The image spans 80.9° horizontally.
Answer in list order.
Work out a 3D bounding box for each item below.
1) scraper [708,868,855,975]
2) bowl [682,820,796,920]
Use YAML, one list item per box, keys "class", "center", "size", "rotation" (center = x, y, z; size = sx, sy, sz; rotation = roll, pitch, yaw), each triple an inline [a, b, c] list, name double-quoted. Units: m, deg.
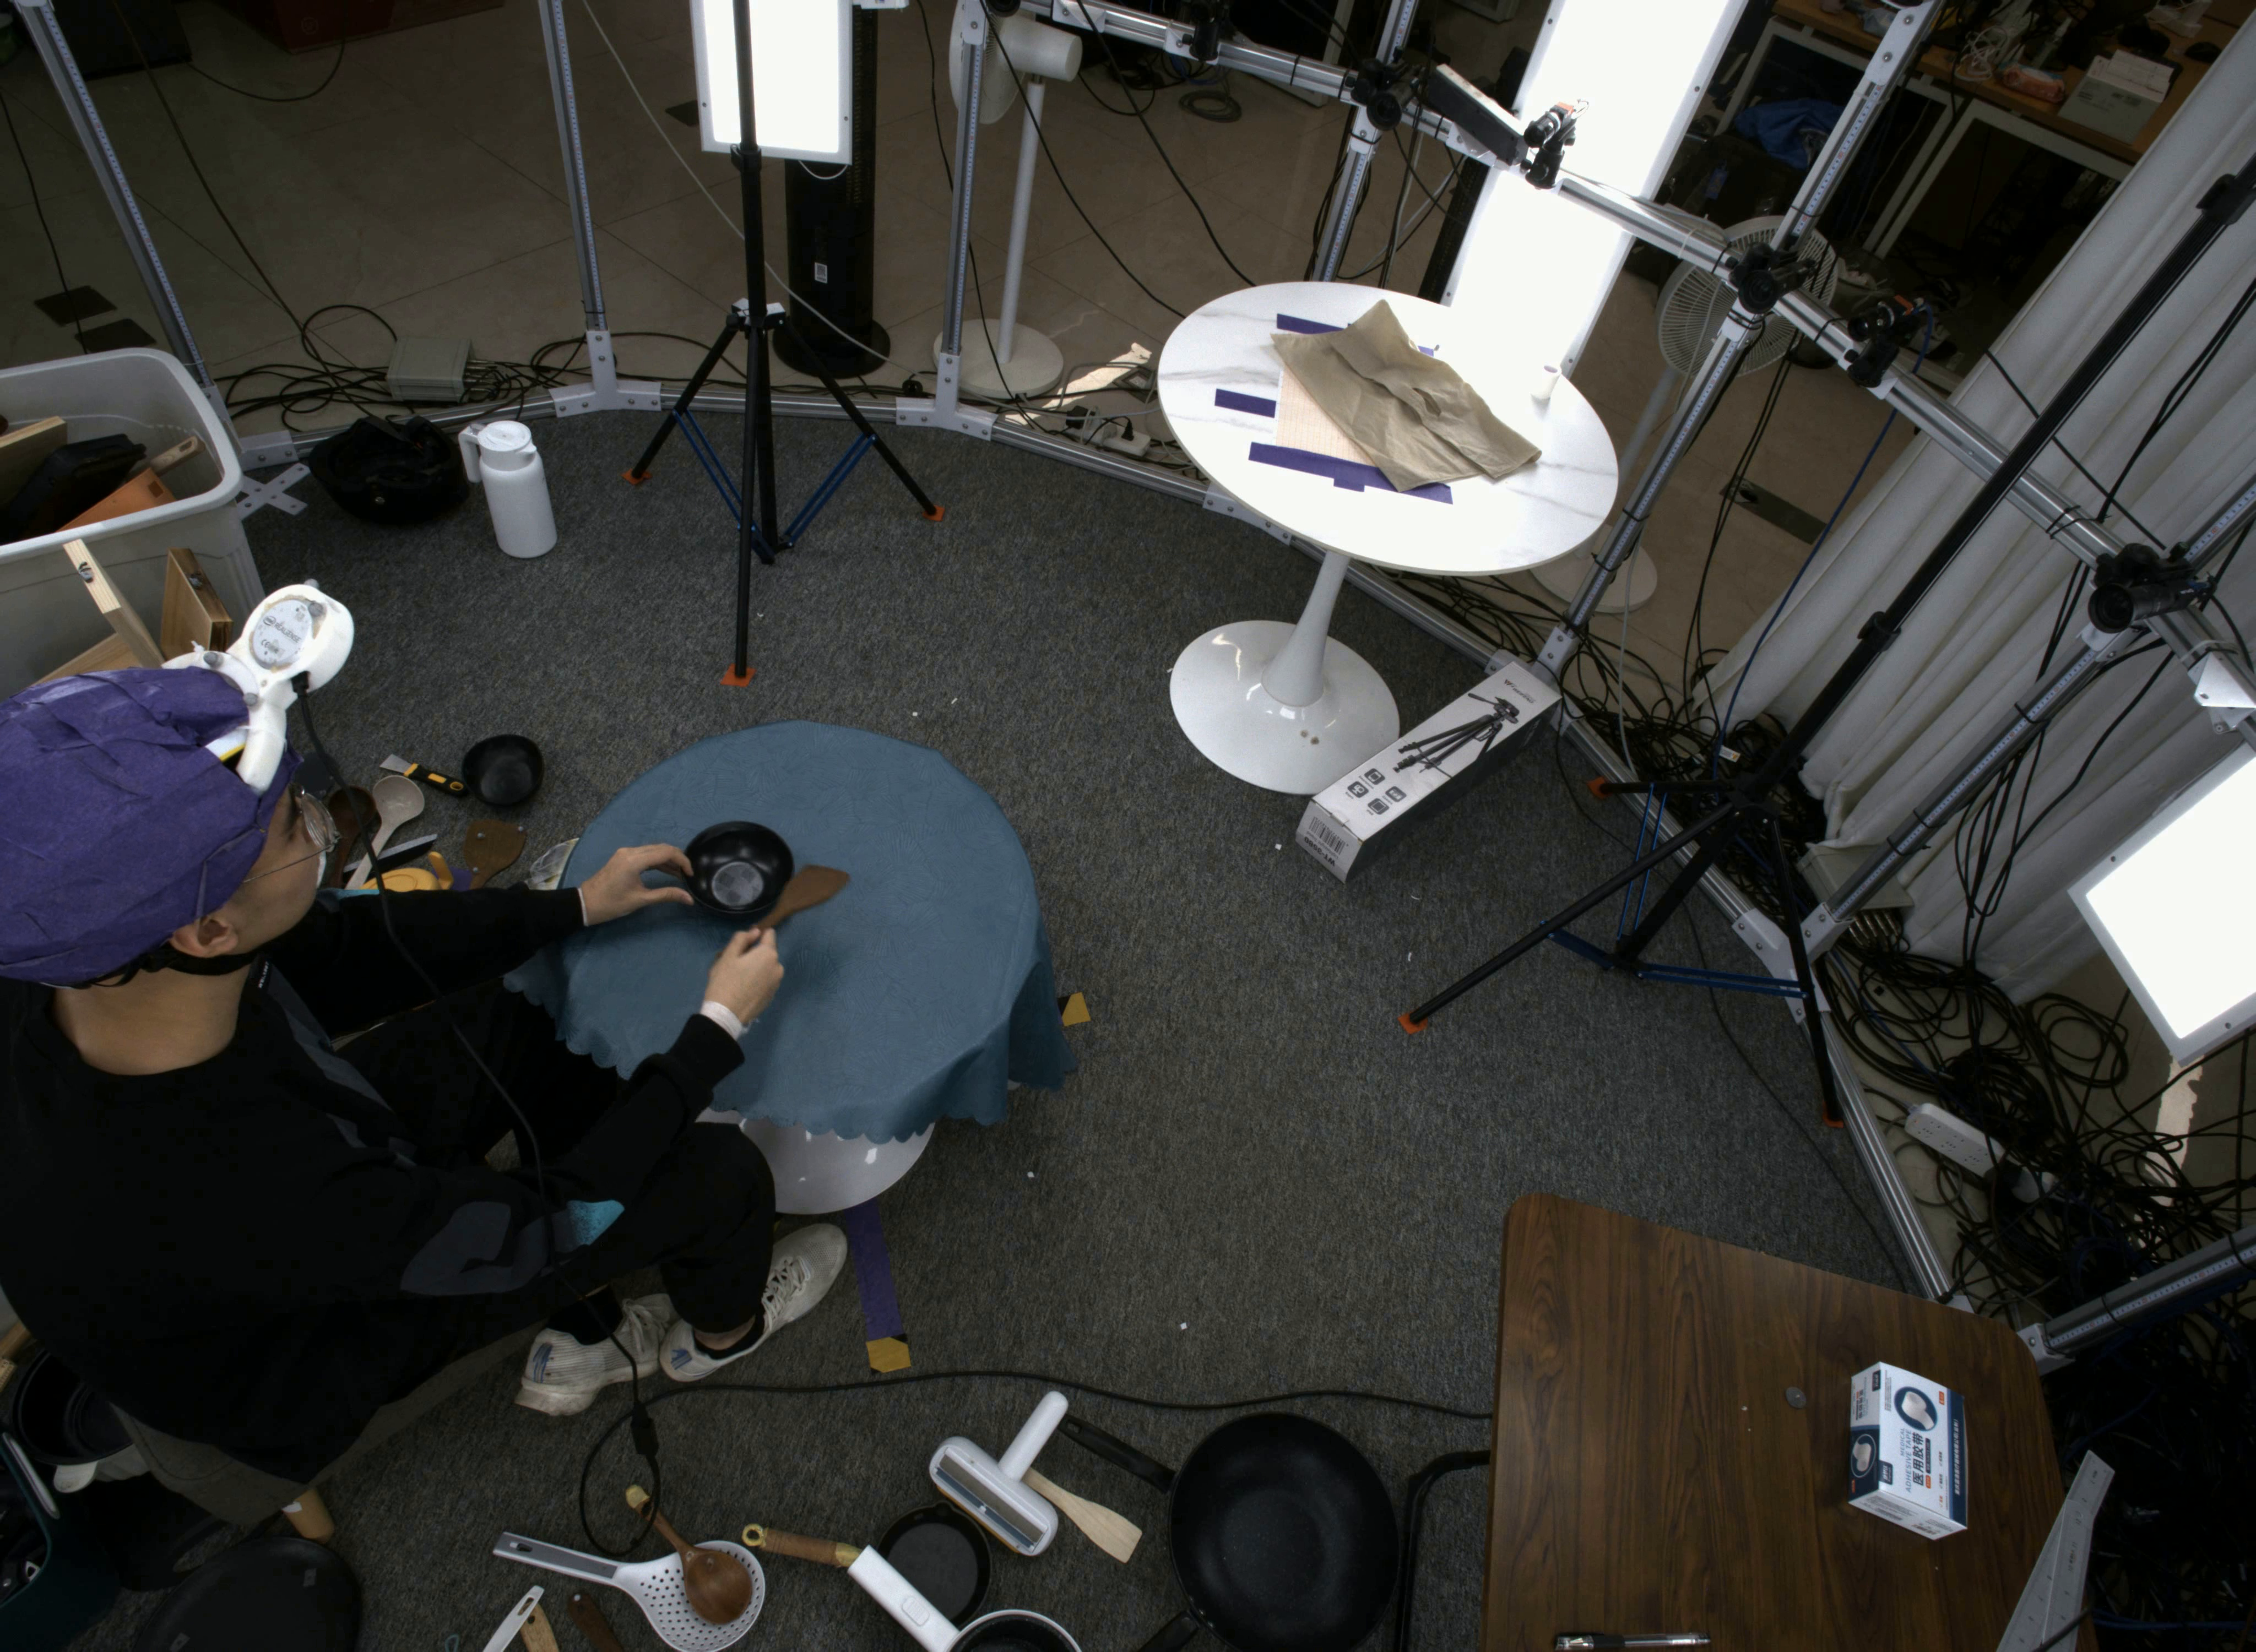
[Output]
- class: "scraper"
  center: [-0.409, 0.109, 1.512]
  size: [0.073, 0.011, 0.211]
  rotation: [15, 37, 27]
- class: "bowl"
  center: [-0.491, 0.062, 1.632]
  size: [0.140, 0.050, 0.138]
  rotation: [10, 55, -13]
